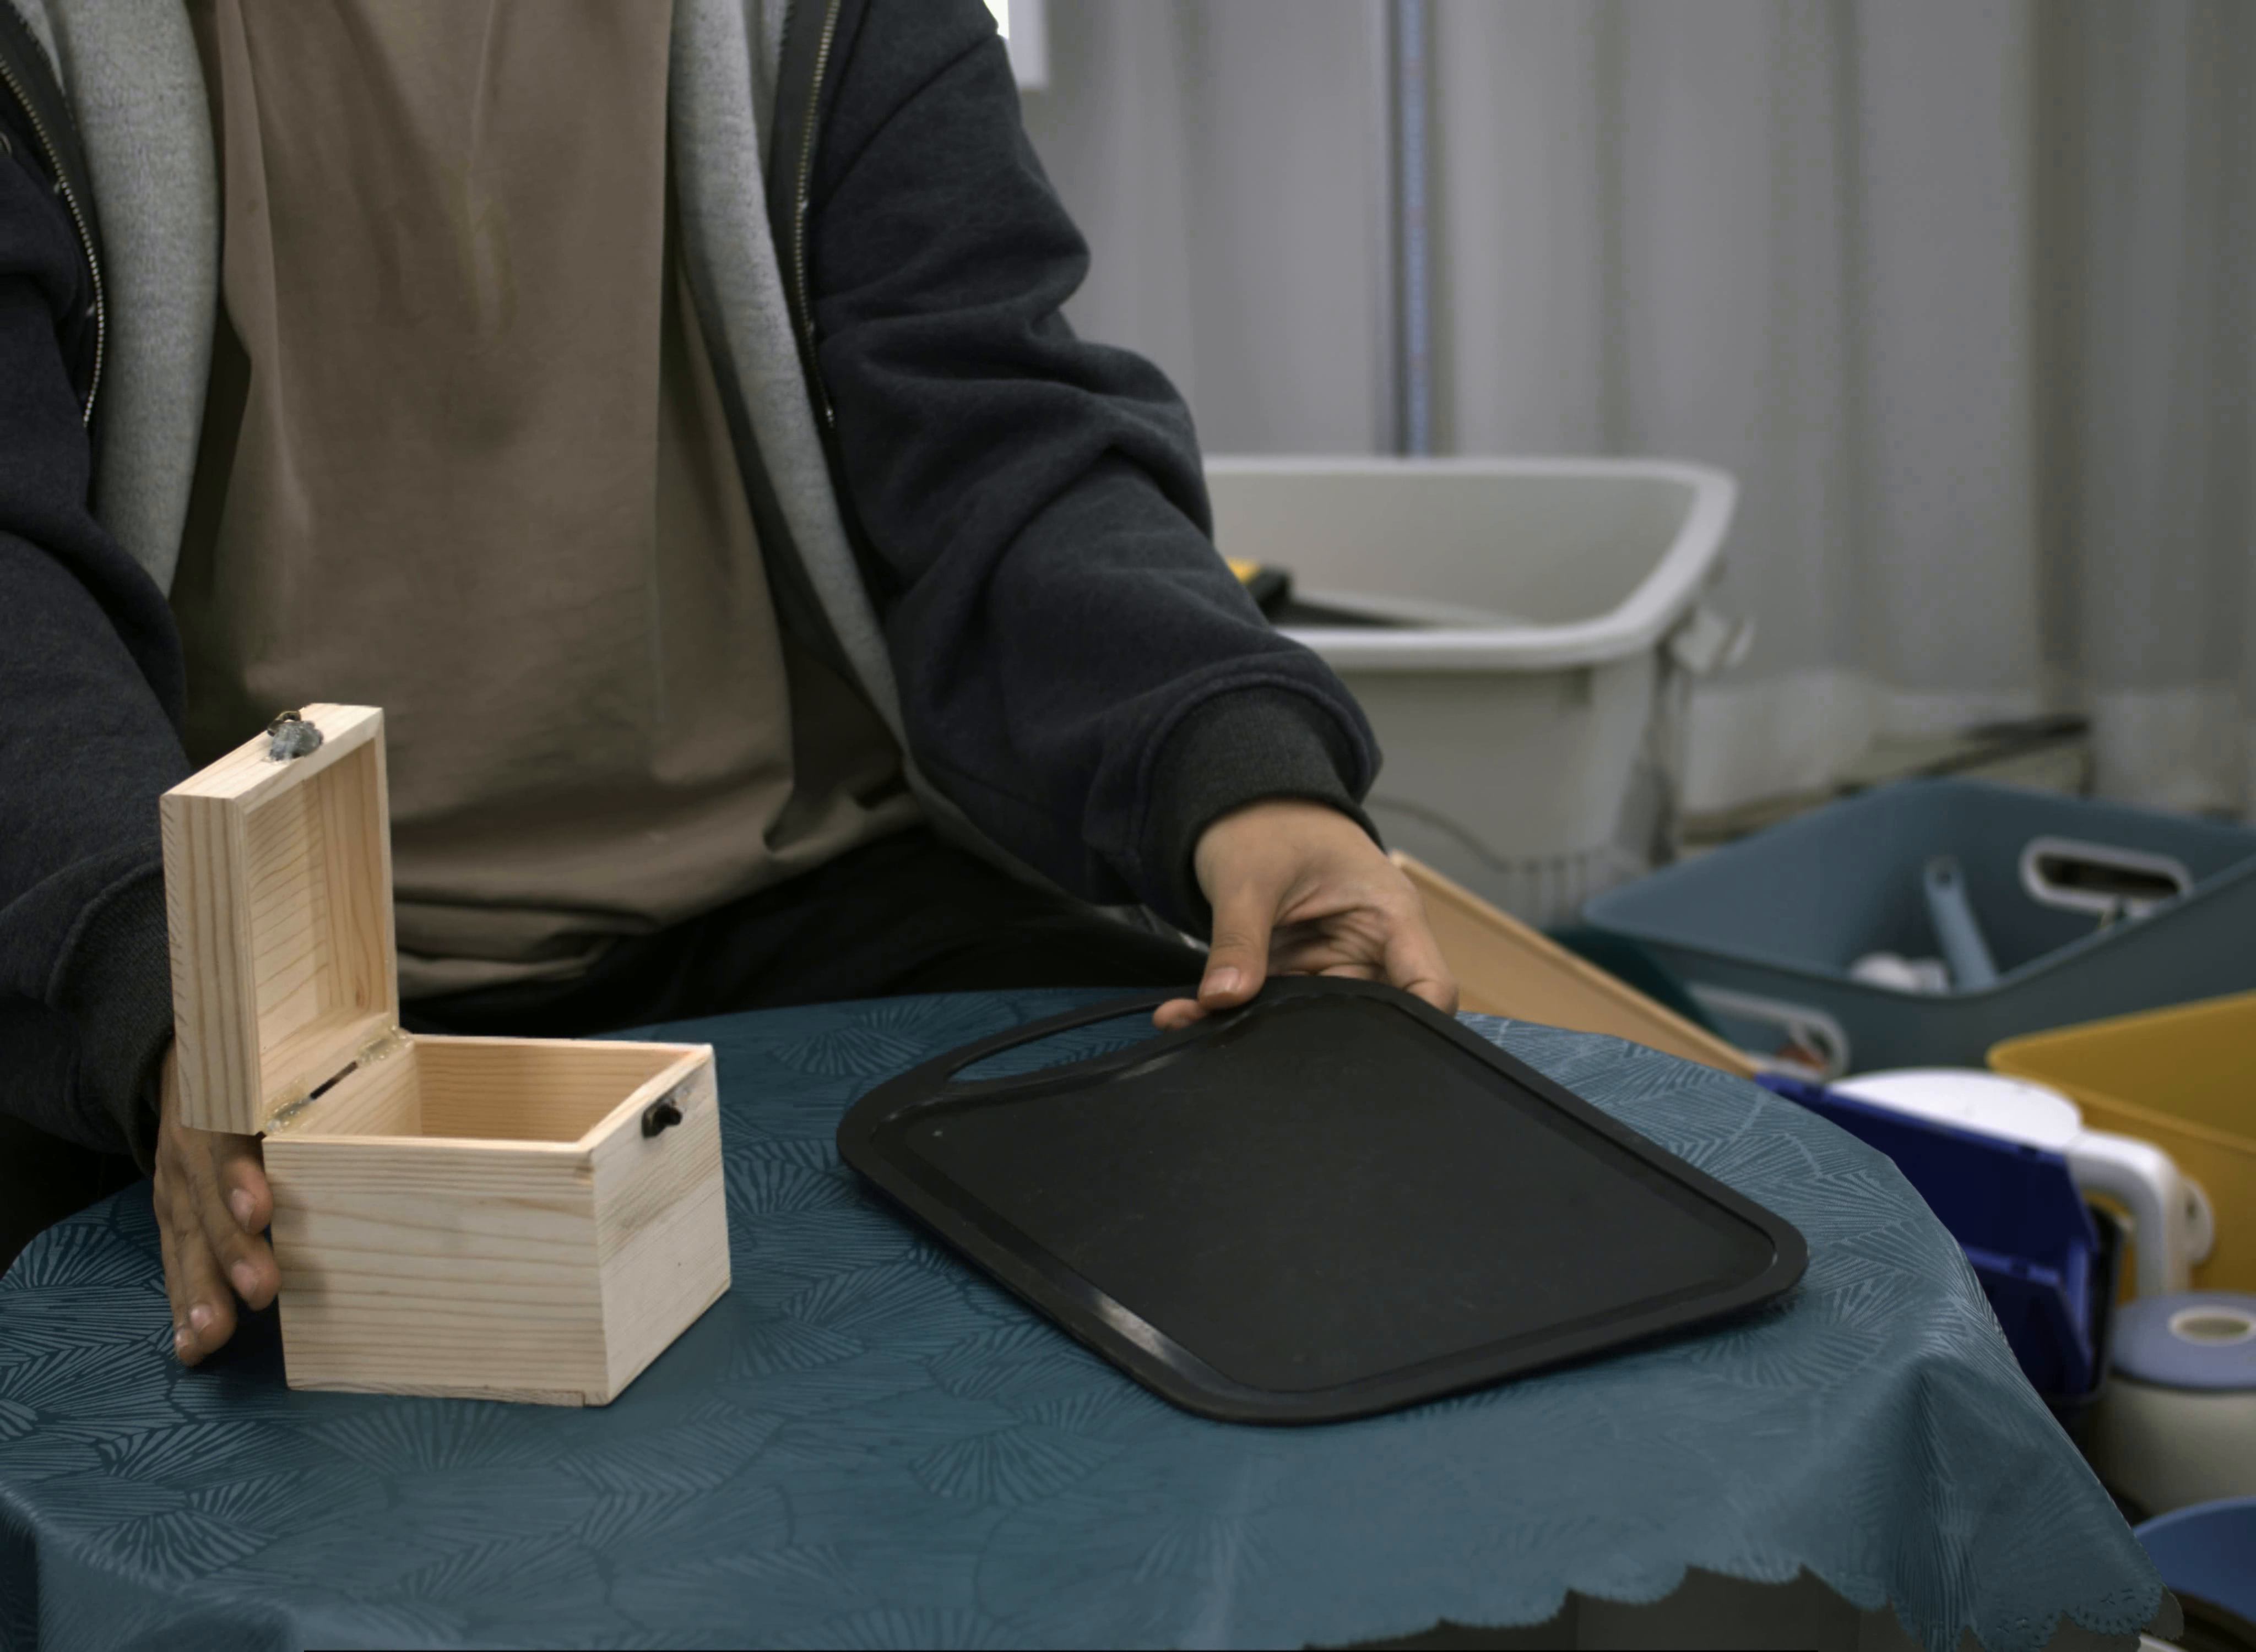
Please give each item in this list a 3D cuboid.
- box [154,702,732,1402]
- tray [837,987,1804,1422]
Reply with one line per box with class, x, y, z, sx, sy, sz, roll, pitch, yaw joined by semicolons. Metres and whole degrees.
box;-0.195;0.063;1.595;0.134;0.184;0.103;0;14;17
tray;0.048;0.107;1.678;0.210;0.010;0.328;-12;21;-24
